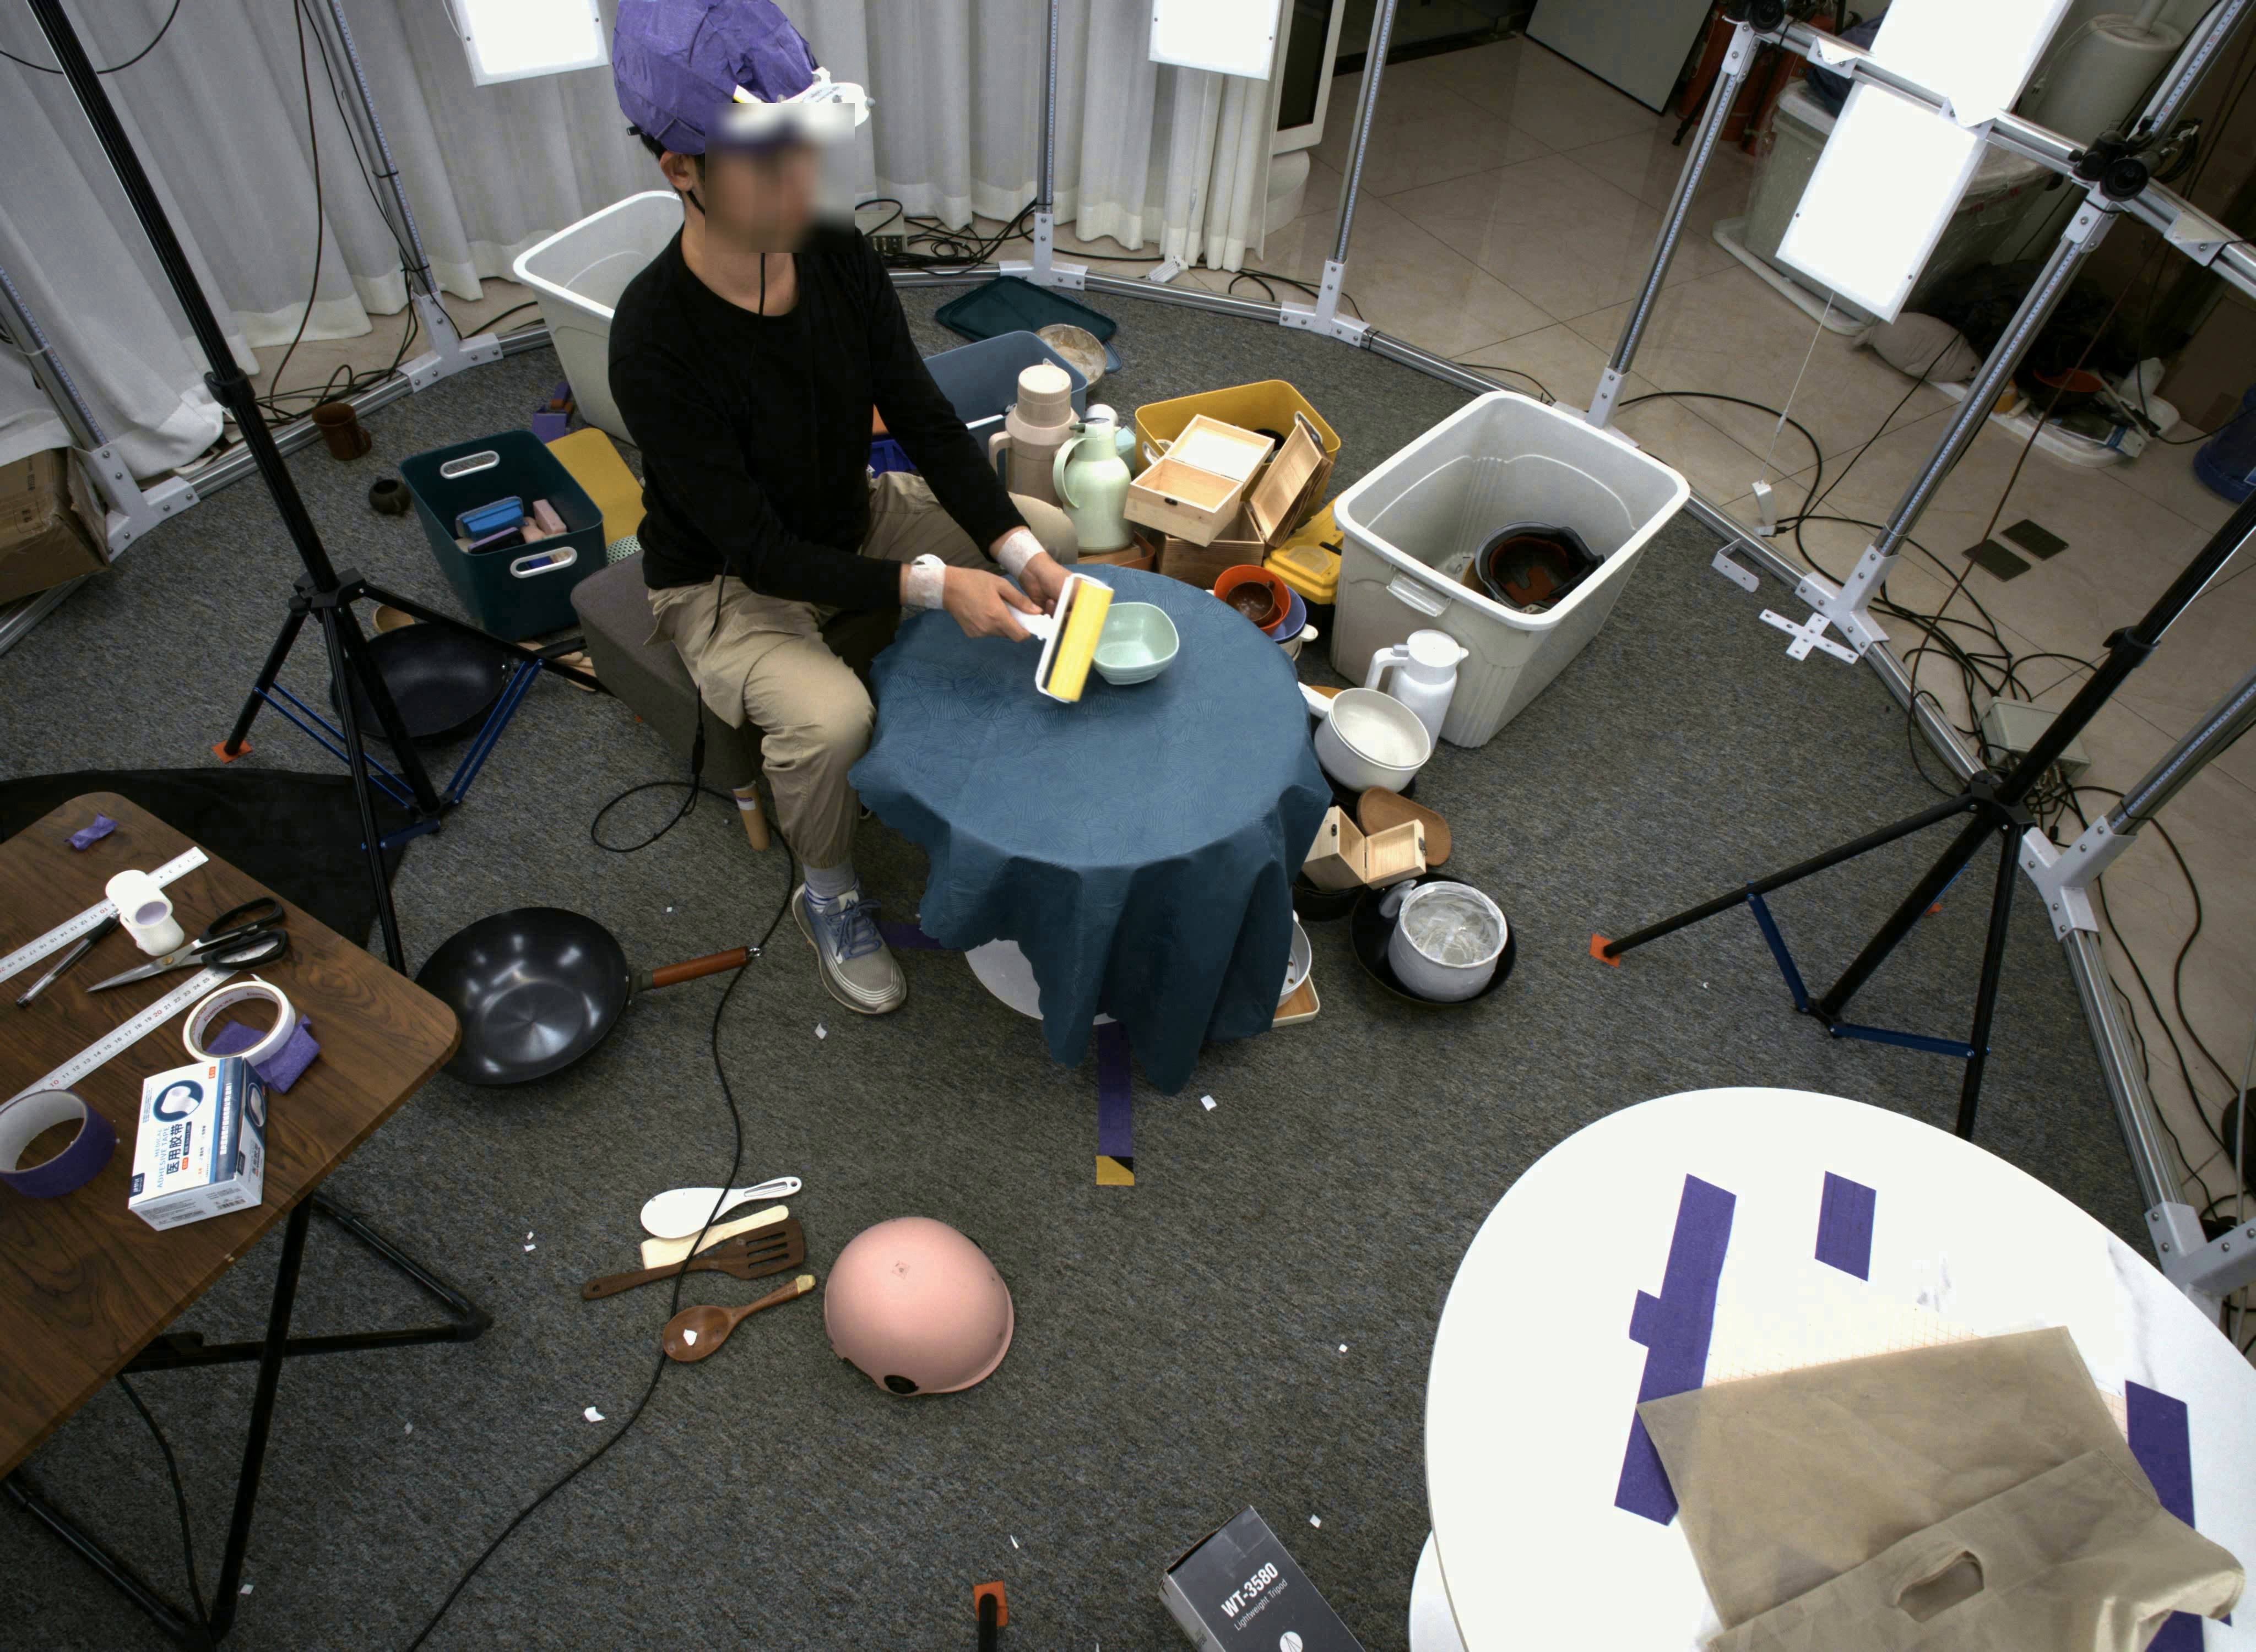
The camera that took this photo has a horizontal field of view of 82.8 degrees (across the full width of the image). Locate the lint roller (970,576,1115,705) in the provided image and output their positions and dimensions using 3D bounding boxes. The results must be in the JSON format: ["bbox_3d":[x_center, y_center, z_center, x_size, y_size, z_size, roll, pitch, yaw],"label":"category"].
[{"bbox_3d":[-0.131,-0.275,1.780,0.192,0.173,0.052,17,12,3],"label":"lint roller"}]

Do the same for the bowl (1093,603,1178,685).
[{"bbox_3d":[-0.002,-0.254,1.846,0.151,0.057,0.155,2,47,-3],"label":"bowl"}]
